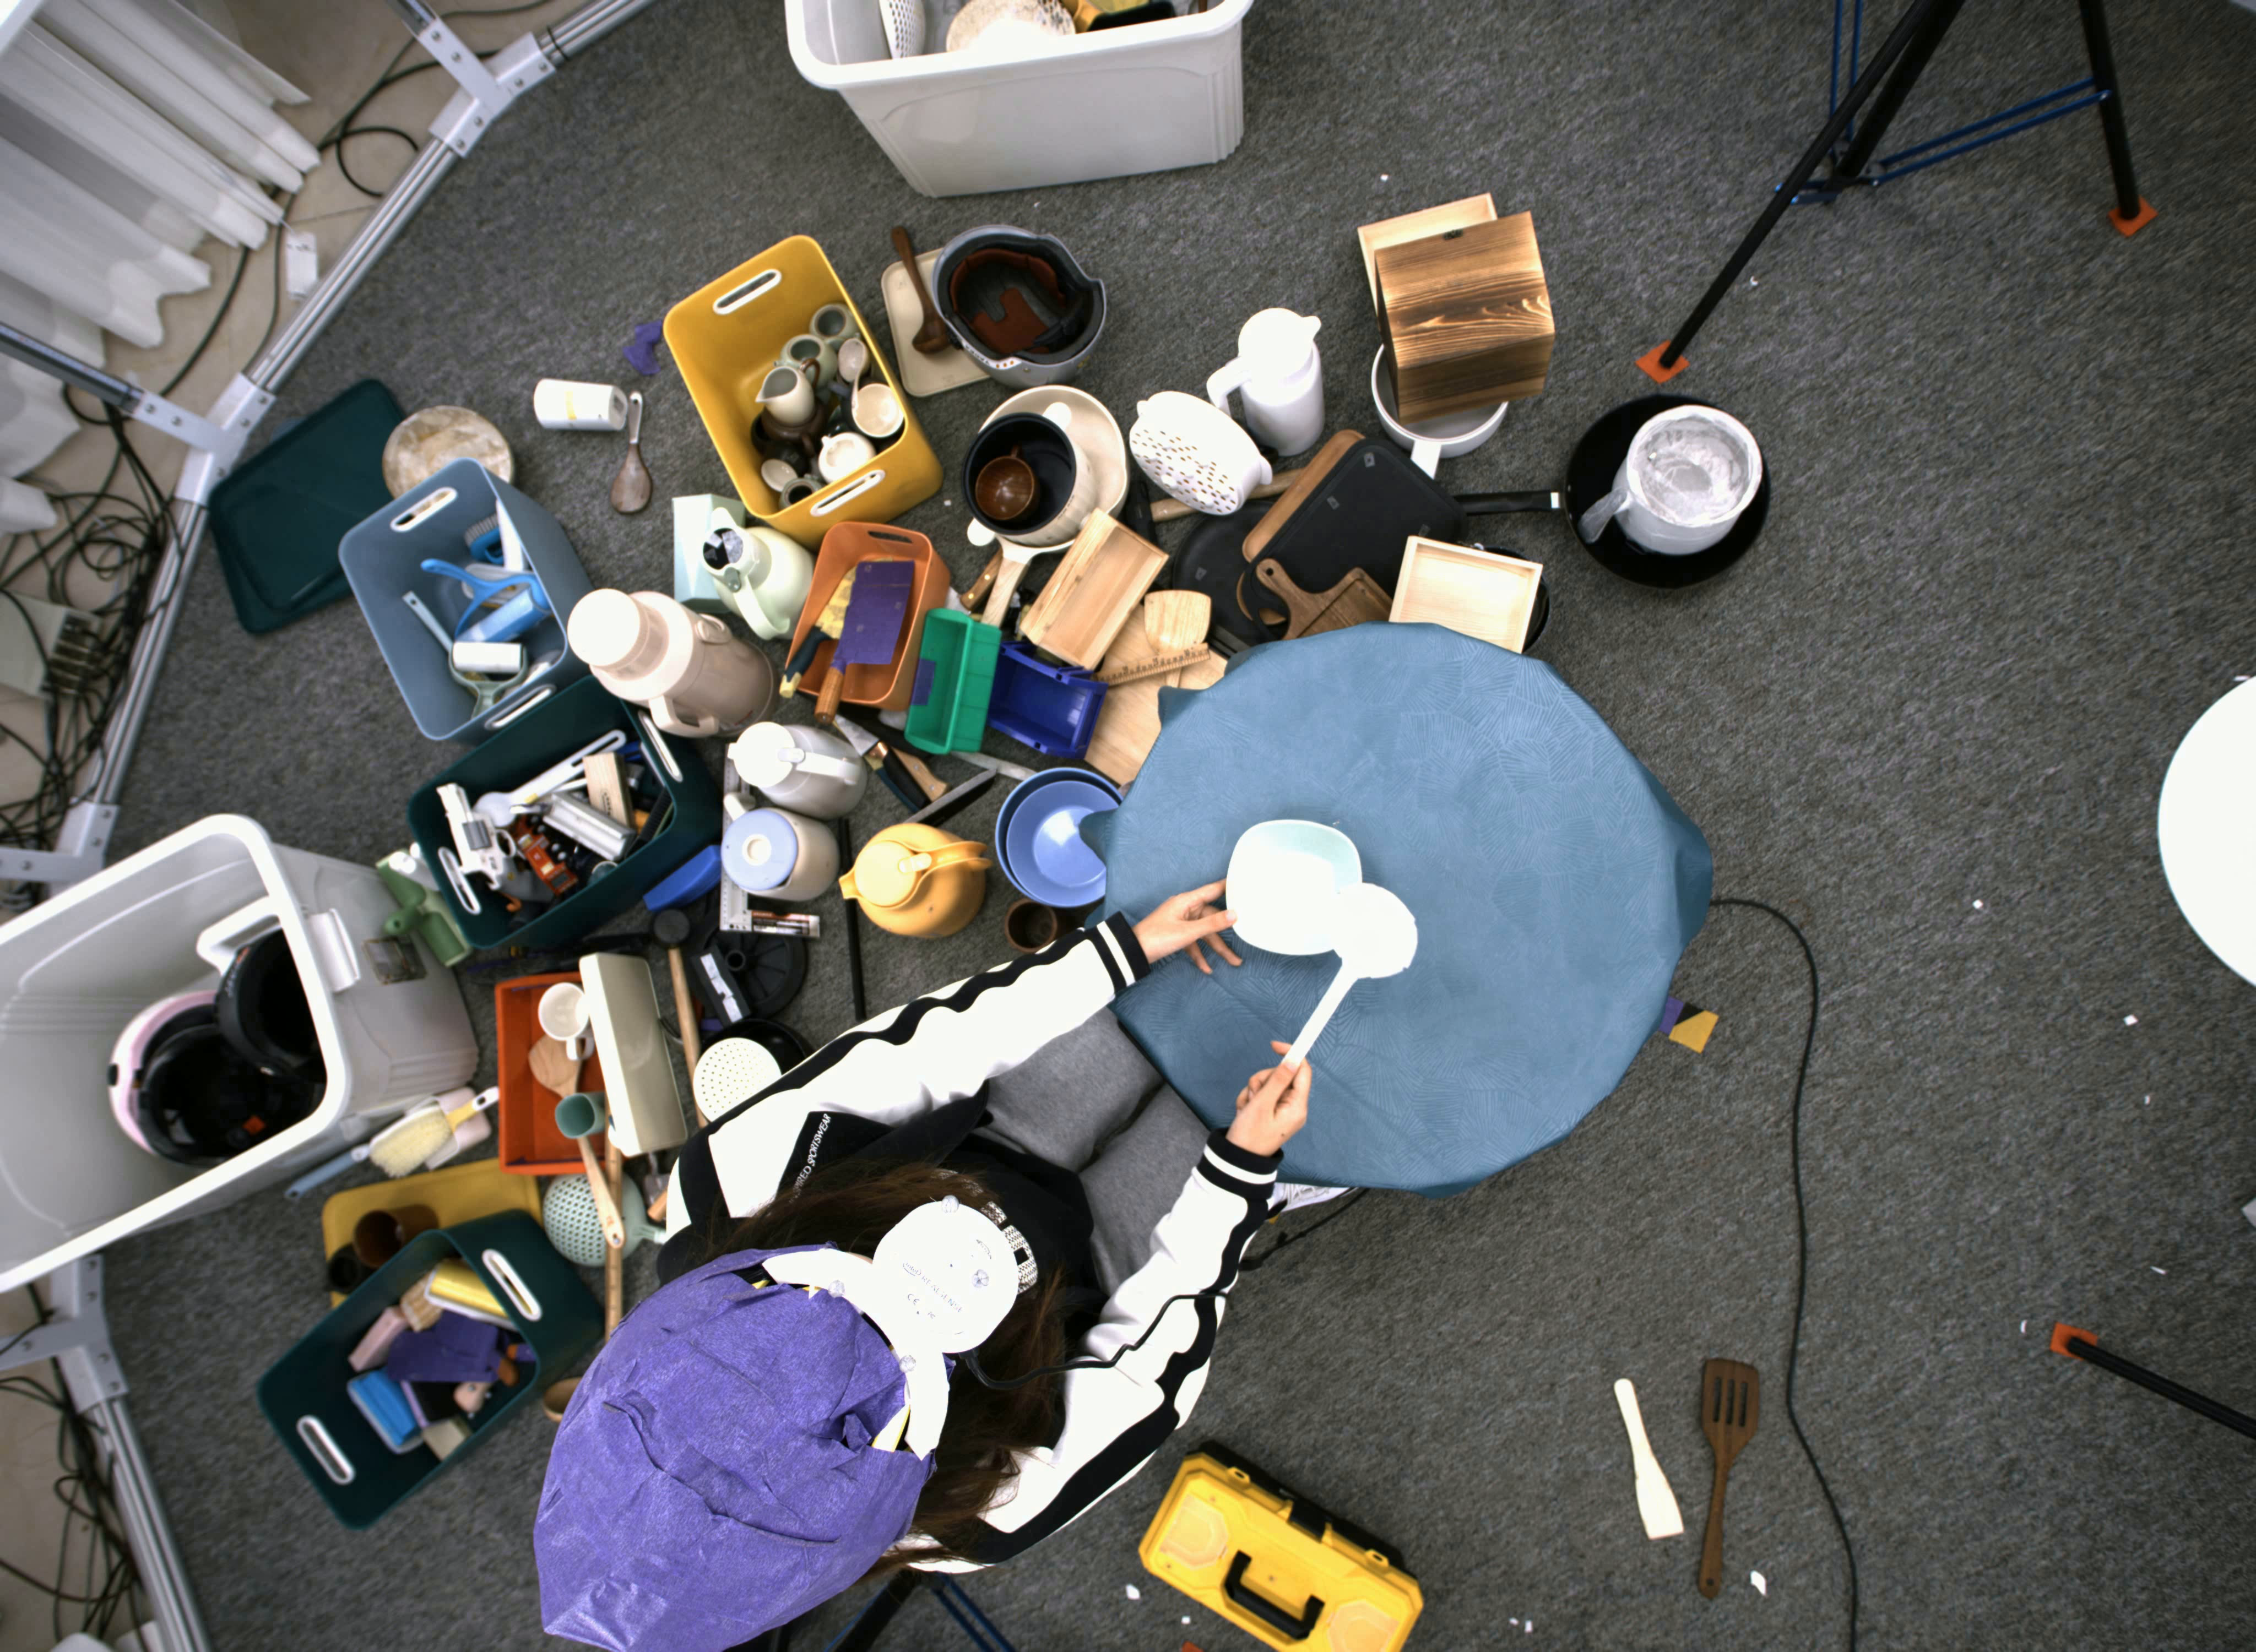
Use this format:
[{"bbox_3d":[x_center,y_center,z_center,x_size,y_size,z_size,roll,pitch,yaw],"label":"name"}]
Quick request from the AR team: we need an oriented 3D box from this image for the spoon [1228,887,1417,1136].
[{"bbox_3d":[0.172,0.180,1.327,0.100,0.059,0.278,38,93,23],"label":"spoon"}]

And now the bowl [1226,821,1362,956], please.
[{"bbox_3d":[0.175,0.066,1.452,0.152,0.058,0.151,-1,86,11],"label":"bowl"}]
